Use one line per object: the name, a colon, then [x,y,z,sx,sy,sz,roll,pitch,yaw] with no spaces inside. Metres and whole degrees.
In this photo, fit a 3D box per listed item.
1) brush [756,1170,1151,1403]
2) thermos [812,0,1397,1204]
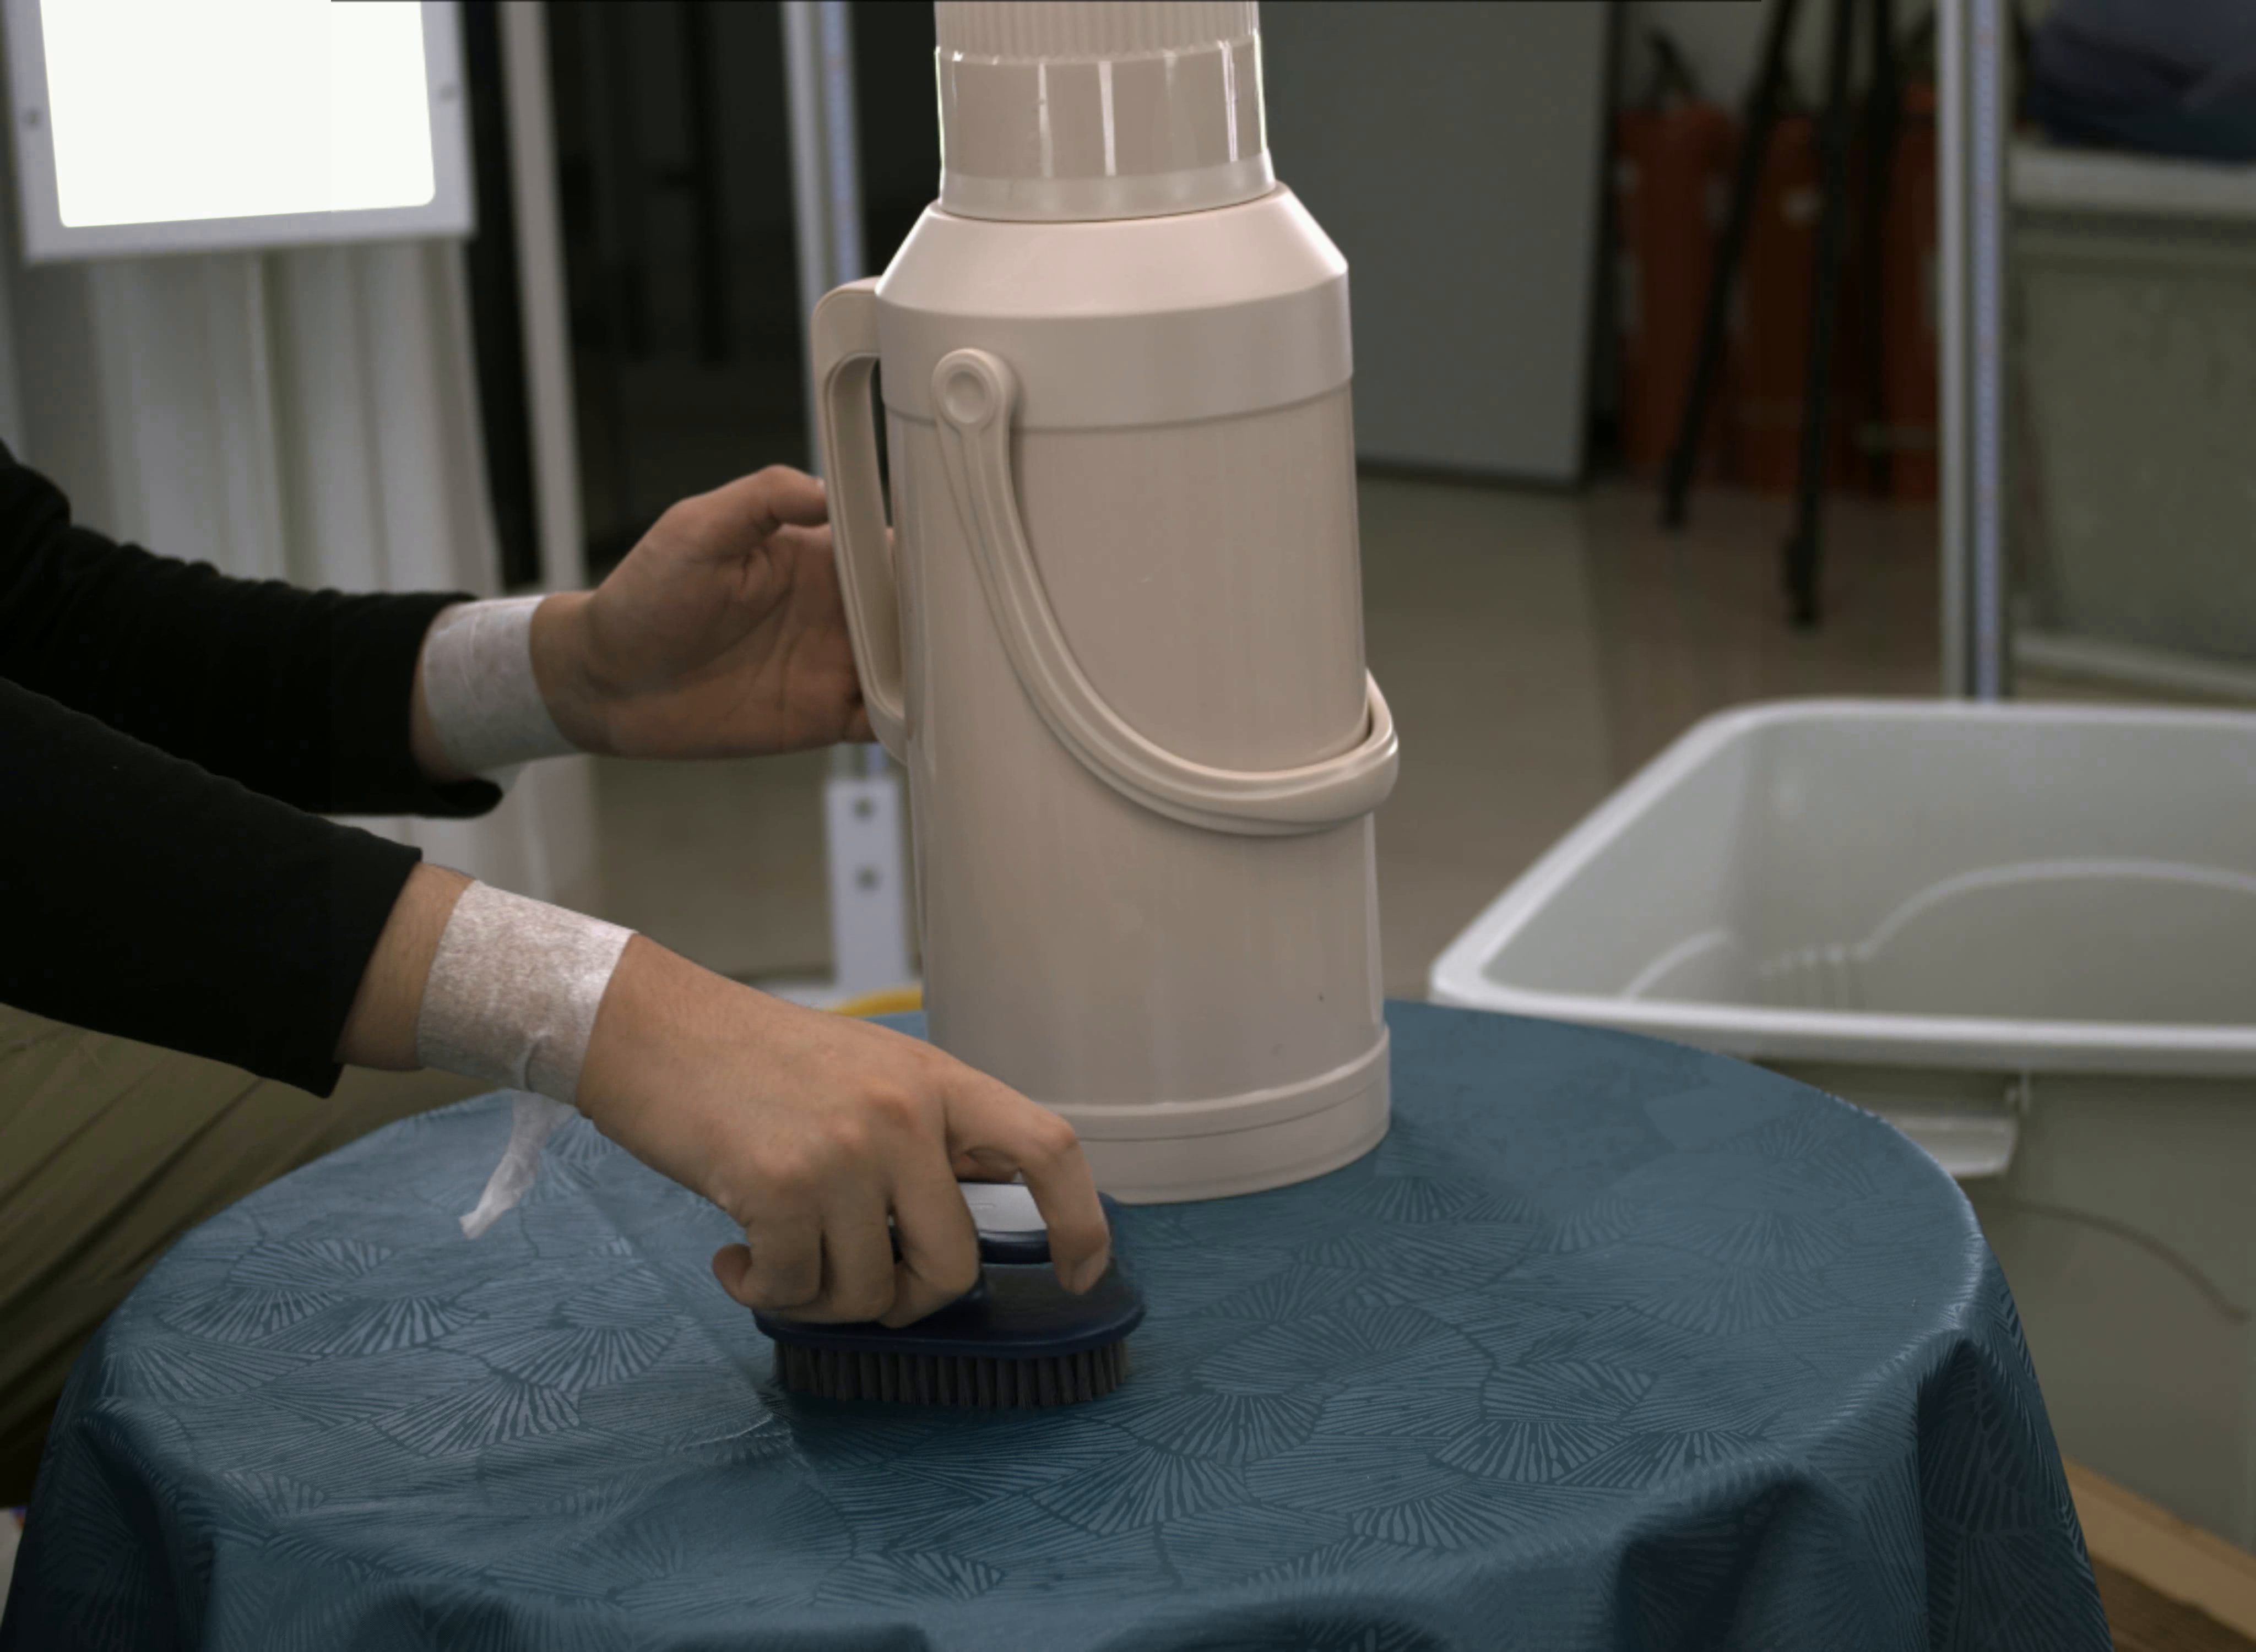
brush: [-0.052,0.138,1.601,0.121,0.062,0.067,2,12,20]
thermos: [-0.011,-0.090,1.795,0.208,0.410,0.172,6,18,33]
